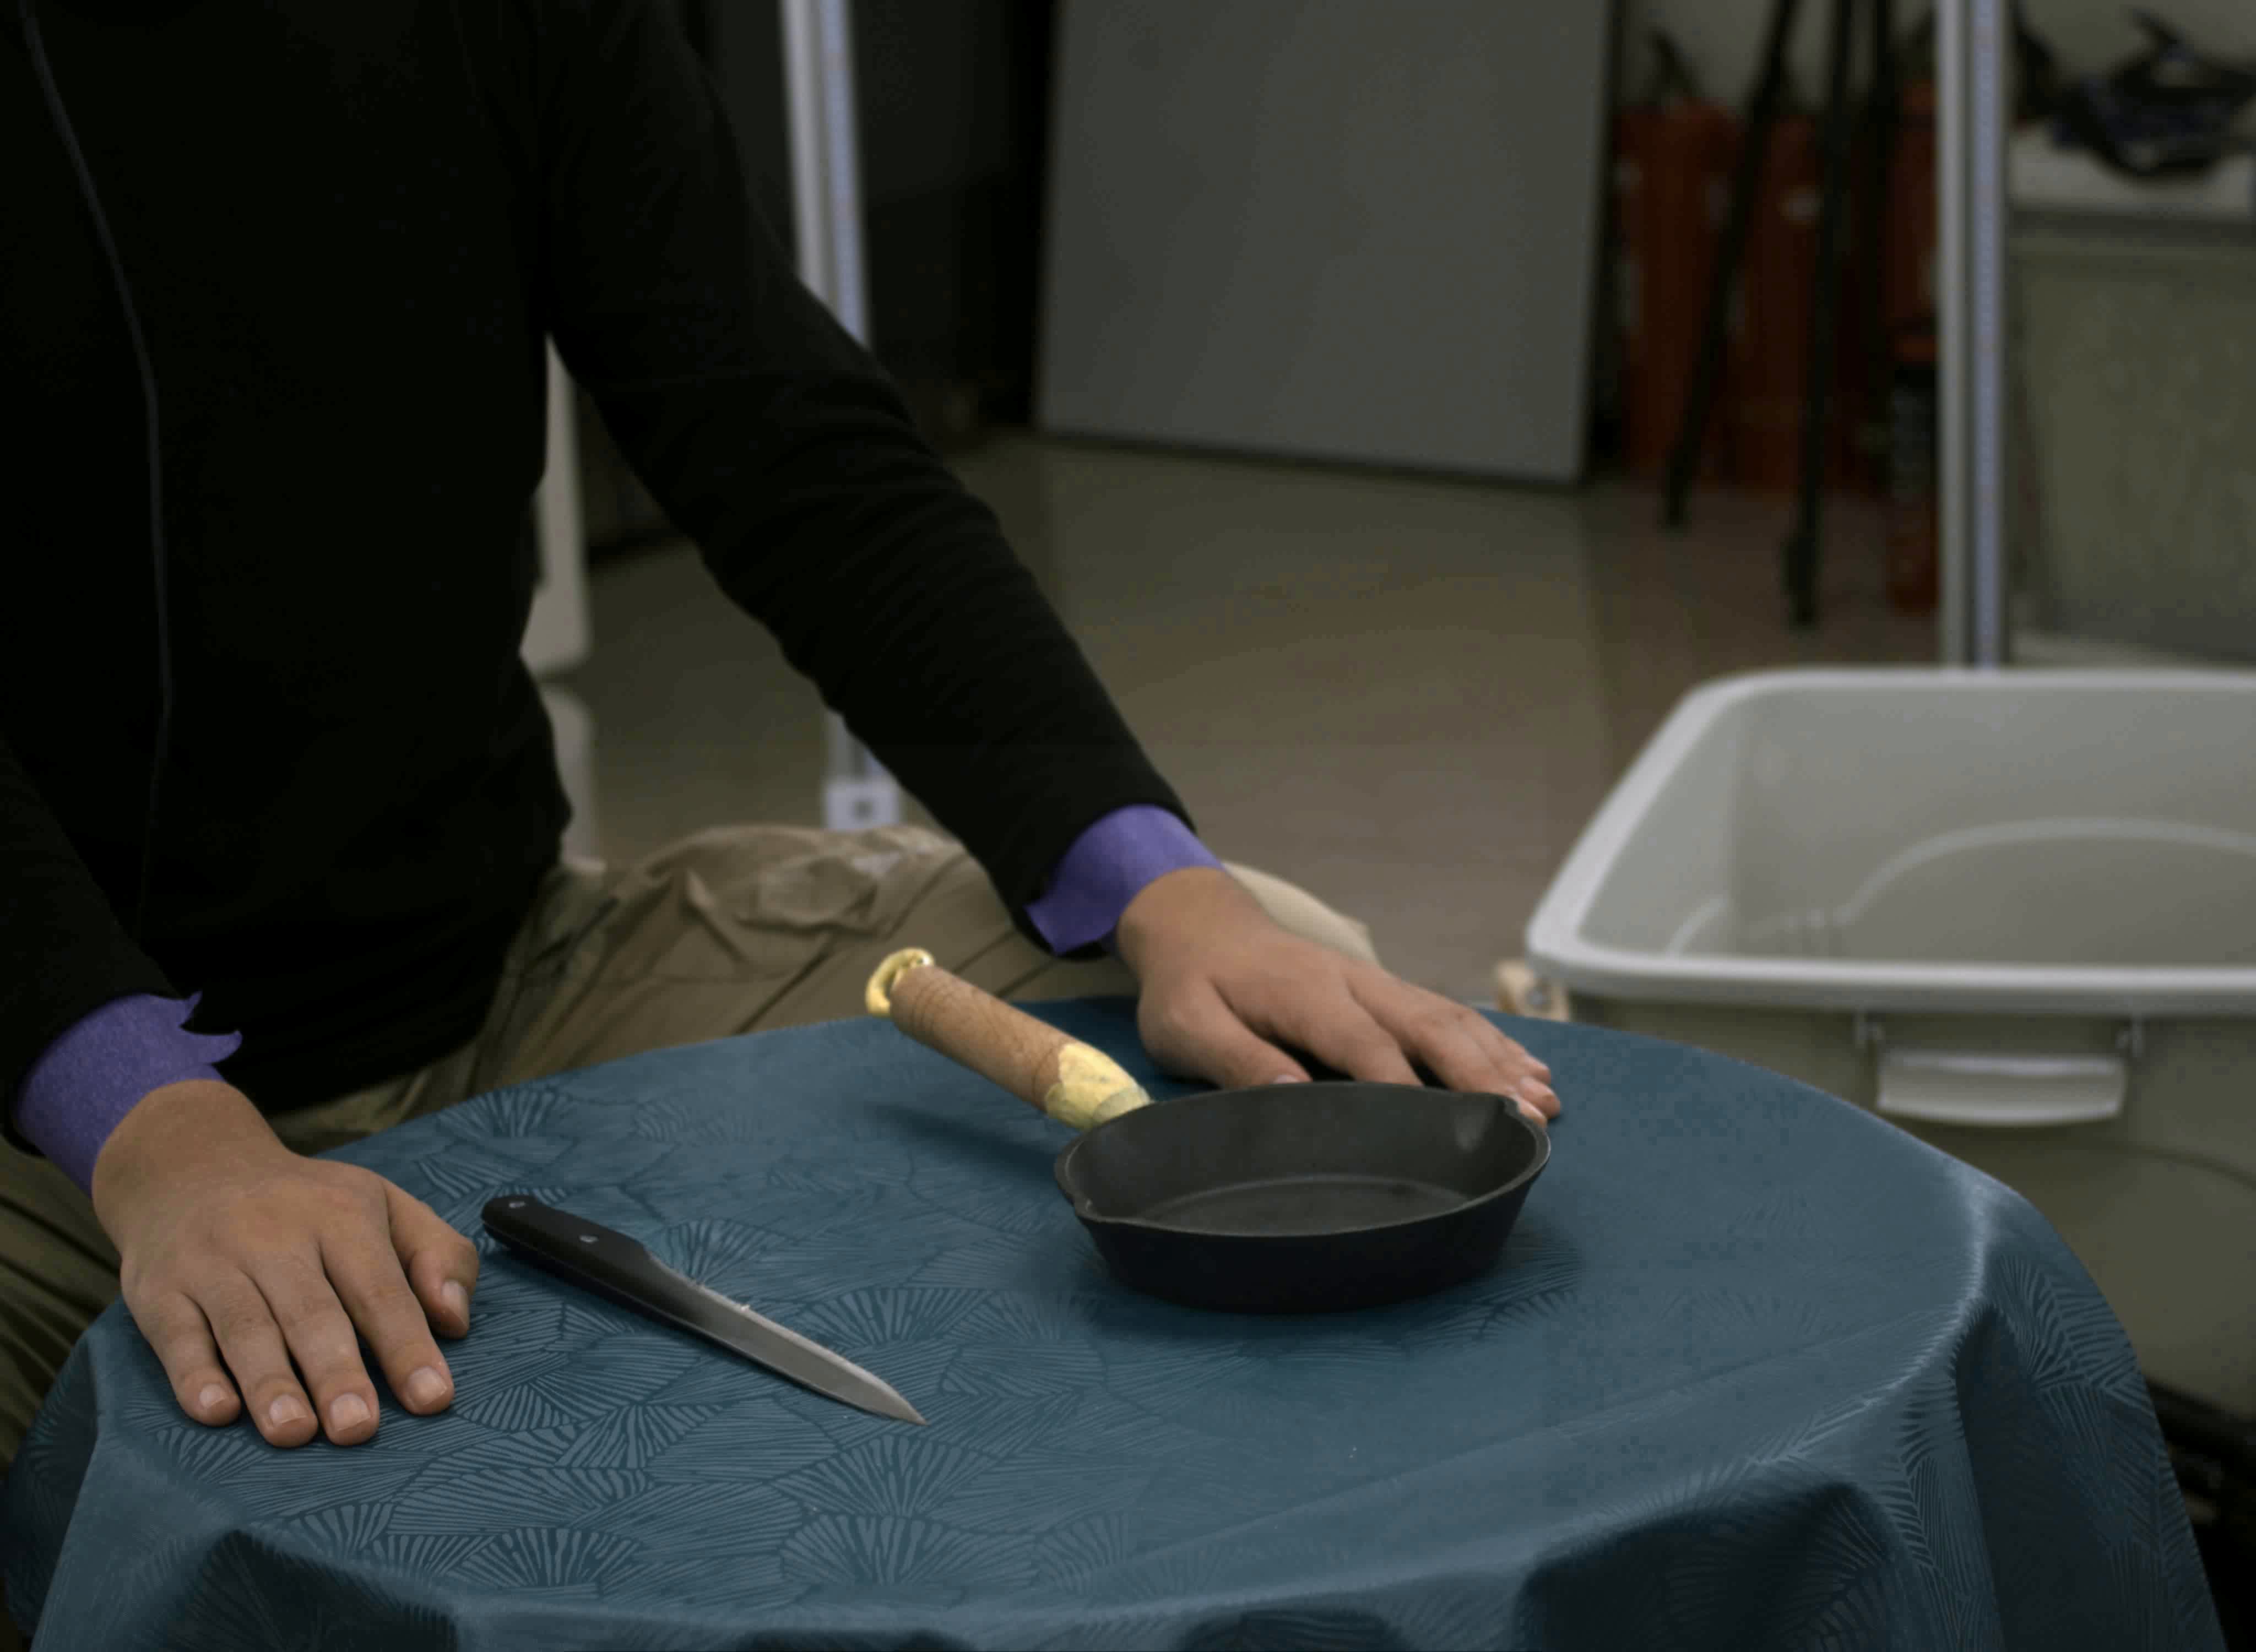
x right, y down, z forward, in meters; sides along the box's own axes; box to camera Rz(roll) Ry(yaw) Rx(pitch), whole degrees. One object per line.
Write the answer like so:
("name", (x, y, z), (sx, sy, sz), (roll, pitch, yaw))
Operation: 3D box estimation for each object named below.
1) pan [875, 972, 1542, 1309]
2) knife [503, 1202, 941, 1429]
("pan", (0.008, 0.098, 1.768), (0.165, 0.050, 0.327), (-12, 15, -31))
("knife", (-0.129, 0.152, 1.666), (0.024, 0.016, 0.241), (-13, 19, -35))
